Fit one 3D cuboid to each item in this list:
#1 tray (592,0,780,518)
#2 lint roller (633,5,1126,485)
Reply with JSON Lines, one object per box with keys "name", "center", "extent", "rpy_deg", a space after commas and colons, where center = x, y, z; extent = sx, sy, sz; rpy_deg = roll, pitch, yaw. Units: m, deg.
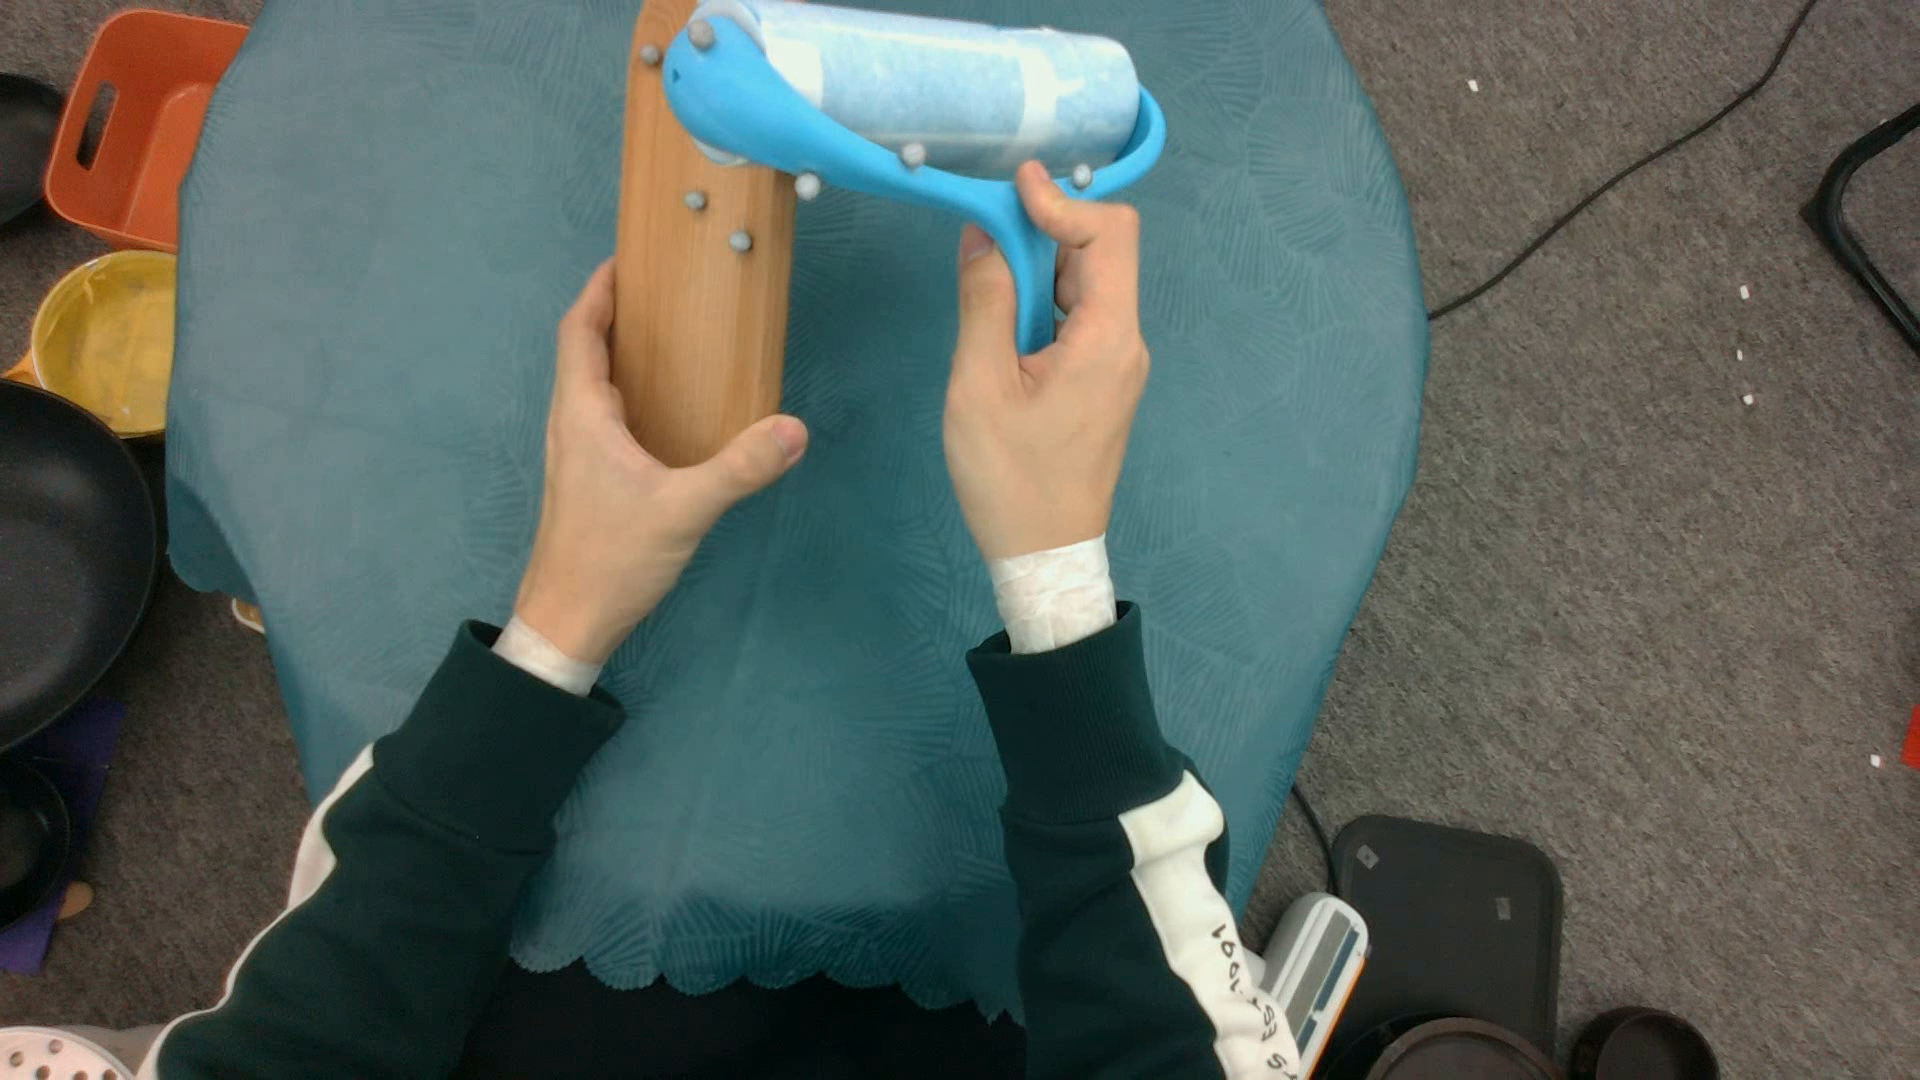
{"name": "tray", "center": [-0.110, -0.124, 0.552], "extent": [0.020, 0.101, 0.231], "rpy_deg": [-3, 97, -49]}
{"name": "lint roller", "center": [-0.003, -0.114, 0.523], "extent": [0.230, 0.067, 0.180], "rpy_deg": [-22, 92, -47]}
